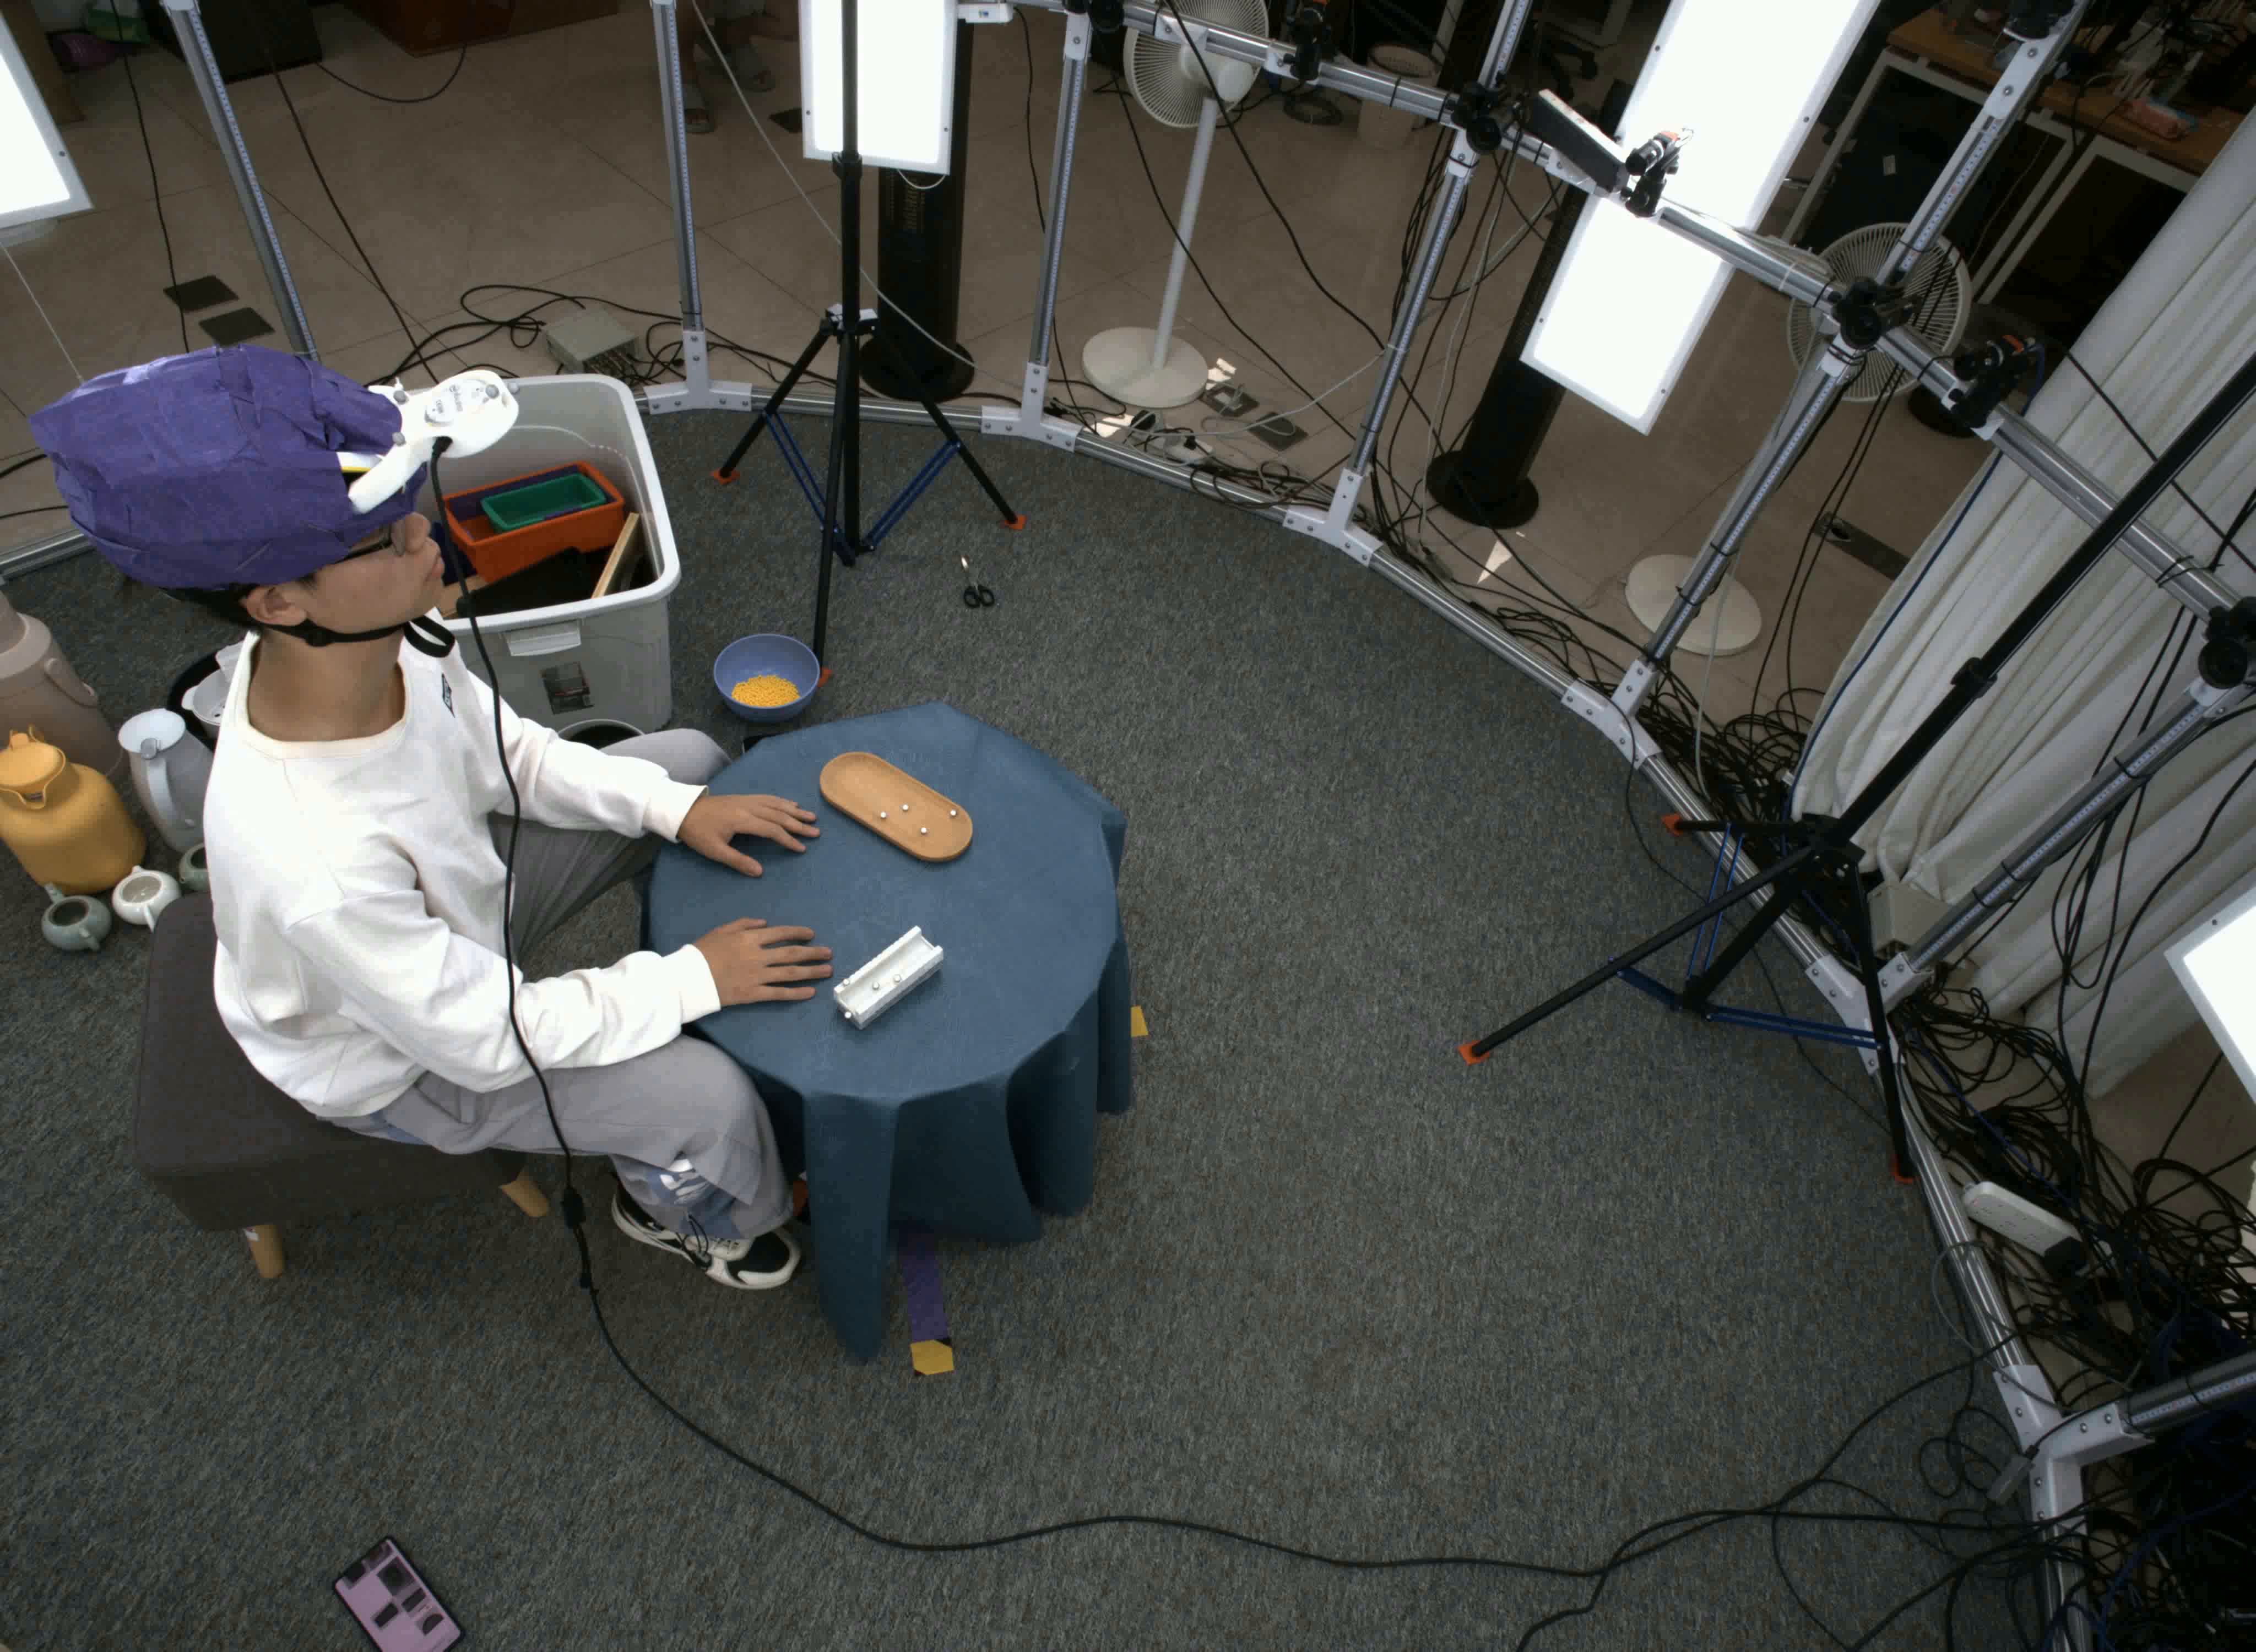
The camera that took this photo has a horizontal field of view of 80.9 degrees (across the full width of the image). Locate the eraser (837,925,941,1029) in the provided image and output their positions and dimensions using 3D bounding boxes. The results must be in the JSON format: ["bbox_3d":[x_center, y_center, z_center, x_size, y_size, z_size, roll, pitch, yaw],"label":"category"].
[{"bbox_3d":[-0.293,0.184,1.599,0.048,0.048,0.134,33,54,20],"label":"eraser"}]

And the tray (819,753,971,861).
[{"bbox_3d":[-0.317,-0.027,1.770,0.227,0.021,0.101,29,52,11],"label":"tray"}]
